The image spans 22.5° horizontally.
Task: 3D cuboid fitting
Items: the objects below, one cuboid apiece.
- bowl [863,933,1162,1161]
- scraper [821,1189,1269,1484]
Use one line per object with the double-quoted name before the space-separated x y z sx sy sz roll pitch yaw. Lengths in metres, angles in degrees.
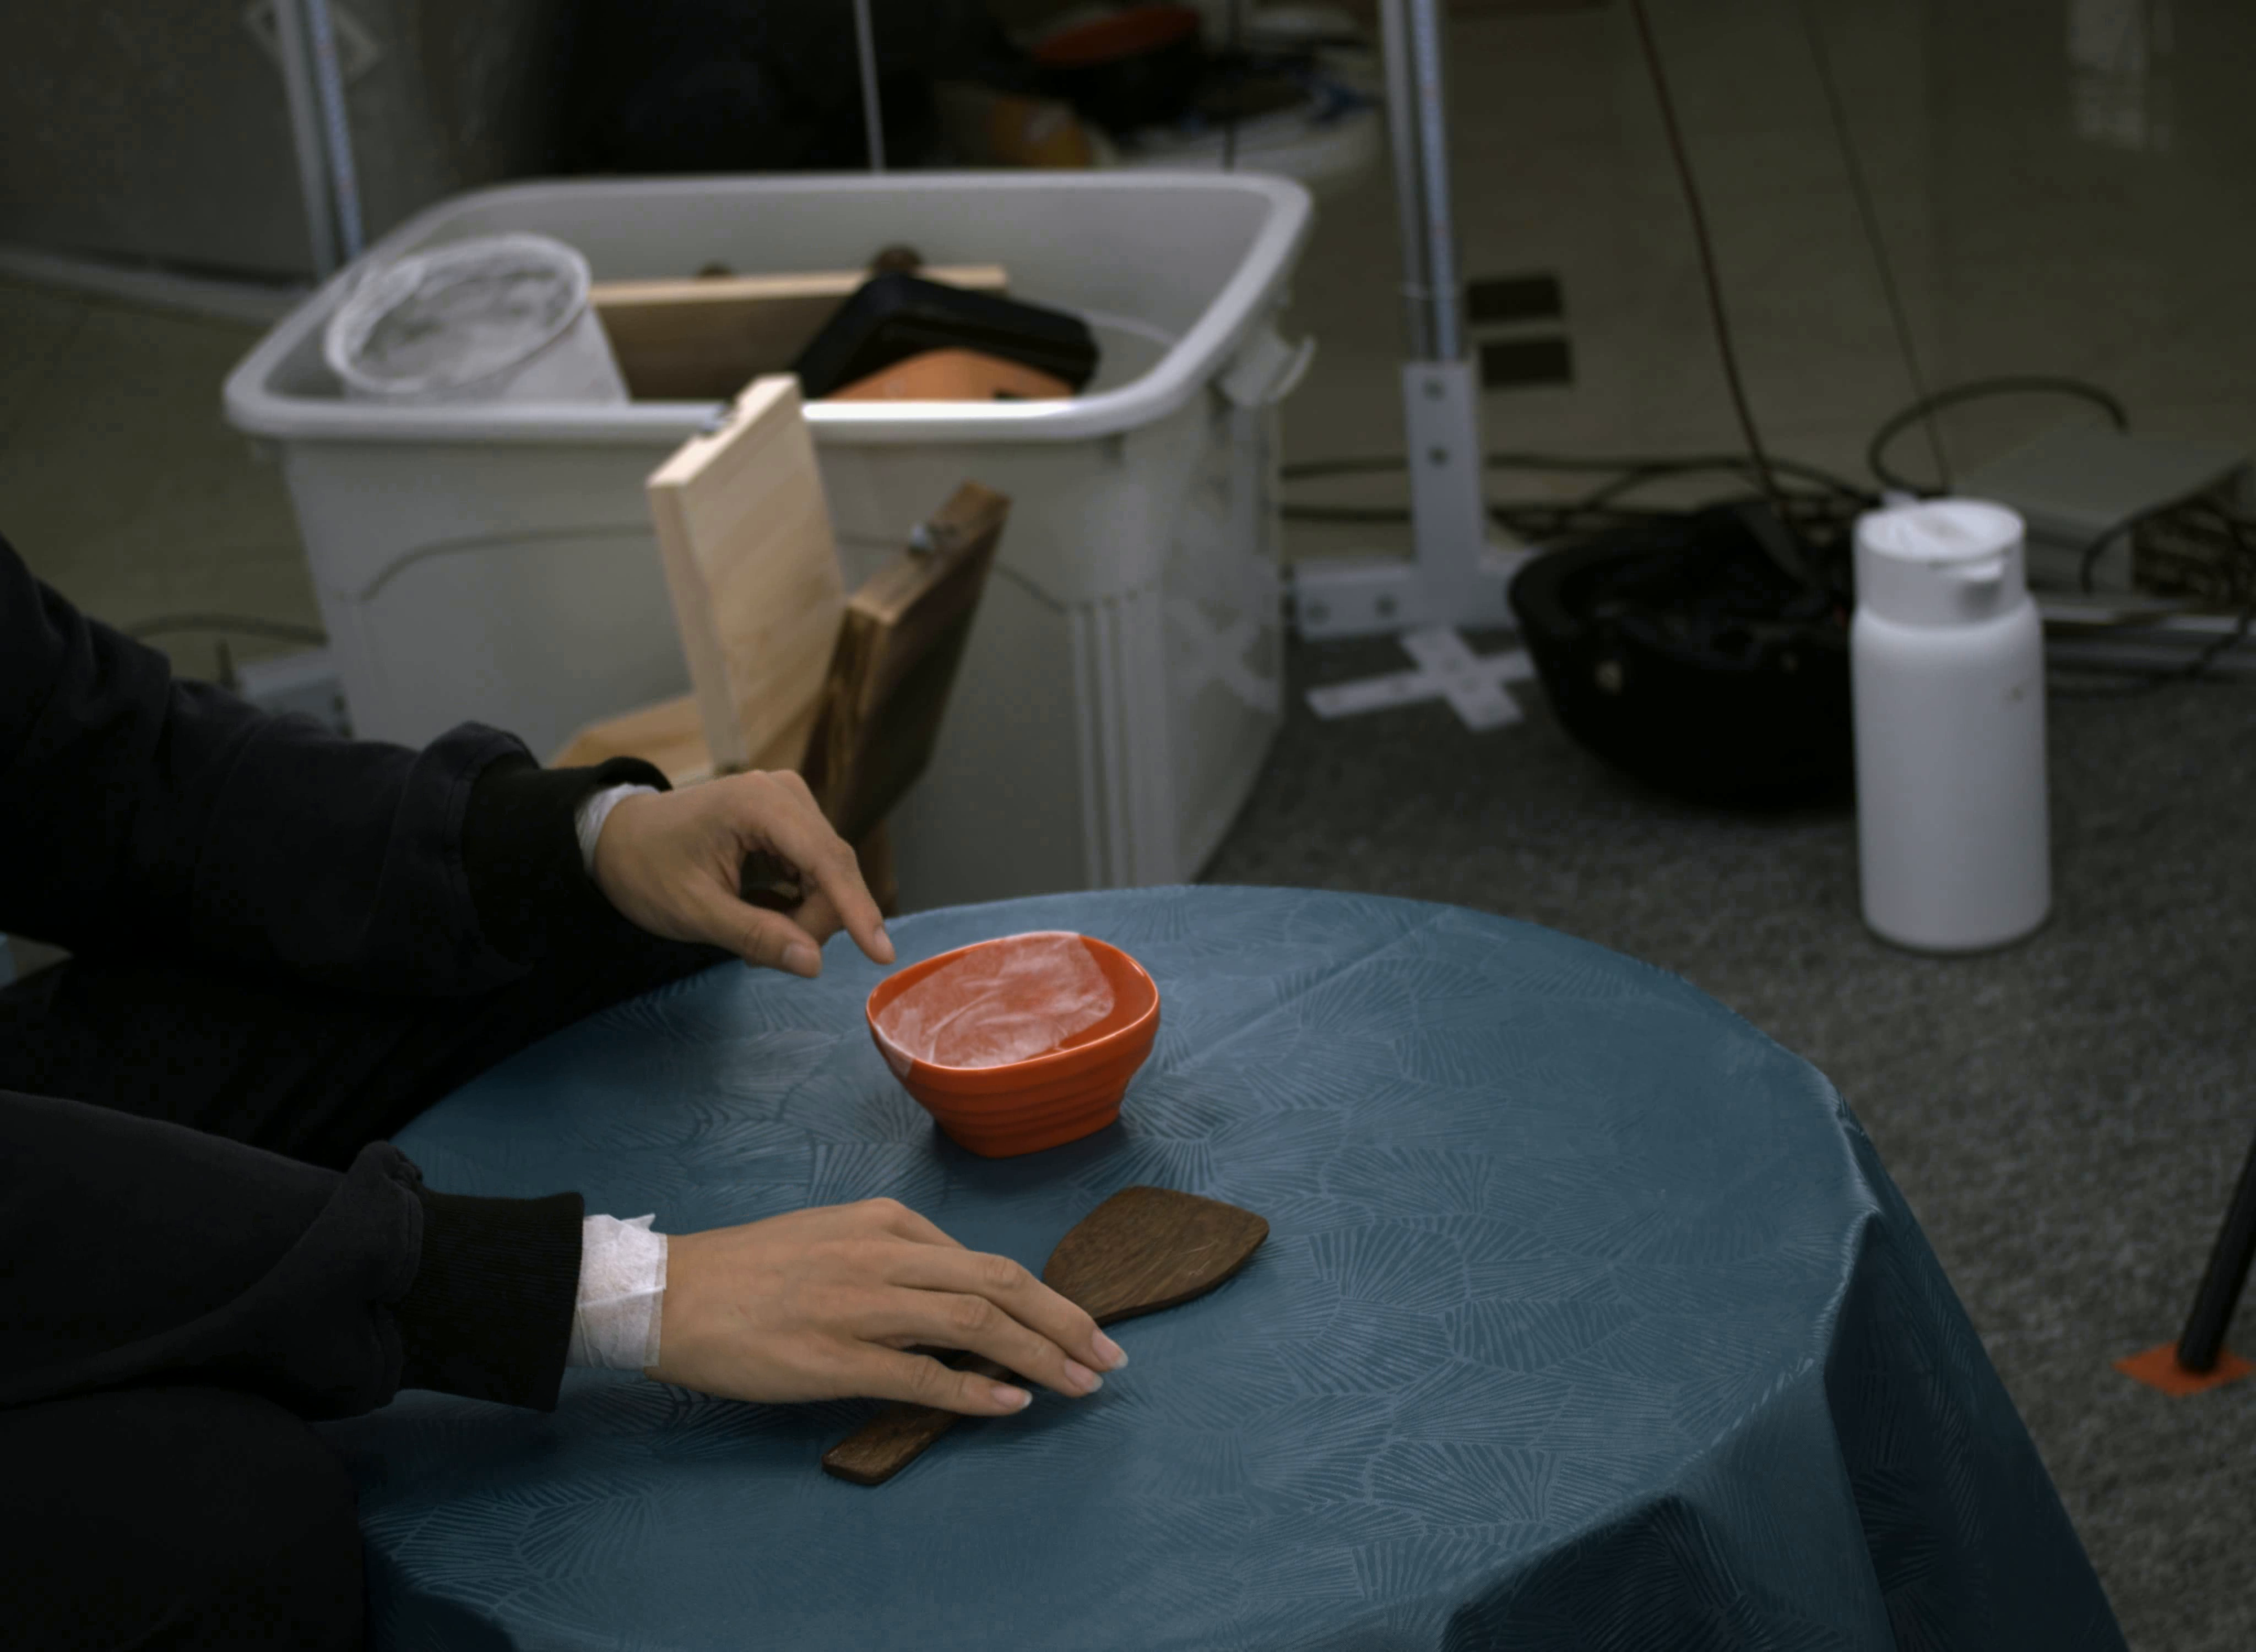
"bowl" -0.043 0.091 2.208 0.119 0.052 0.117 -3 27 2
"scraper" -0.035 0.185 2.053 0.075 0.011 0.209 12 31 38
